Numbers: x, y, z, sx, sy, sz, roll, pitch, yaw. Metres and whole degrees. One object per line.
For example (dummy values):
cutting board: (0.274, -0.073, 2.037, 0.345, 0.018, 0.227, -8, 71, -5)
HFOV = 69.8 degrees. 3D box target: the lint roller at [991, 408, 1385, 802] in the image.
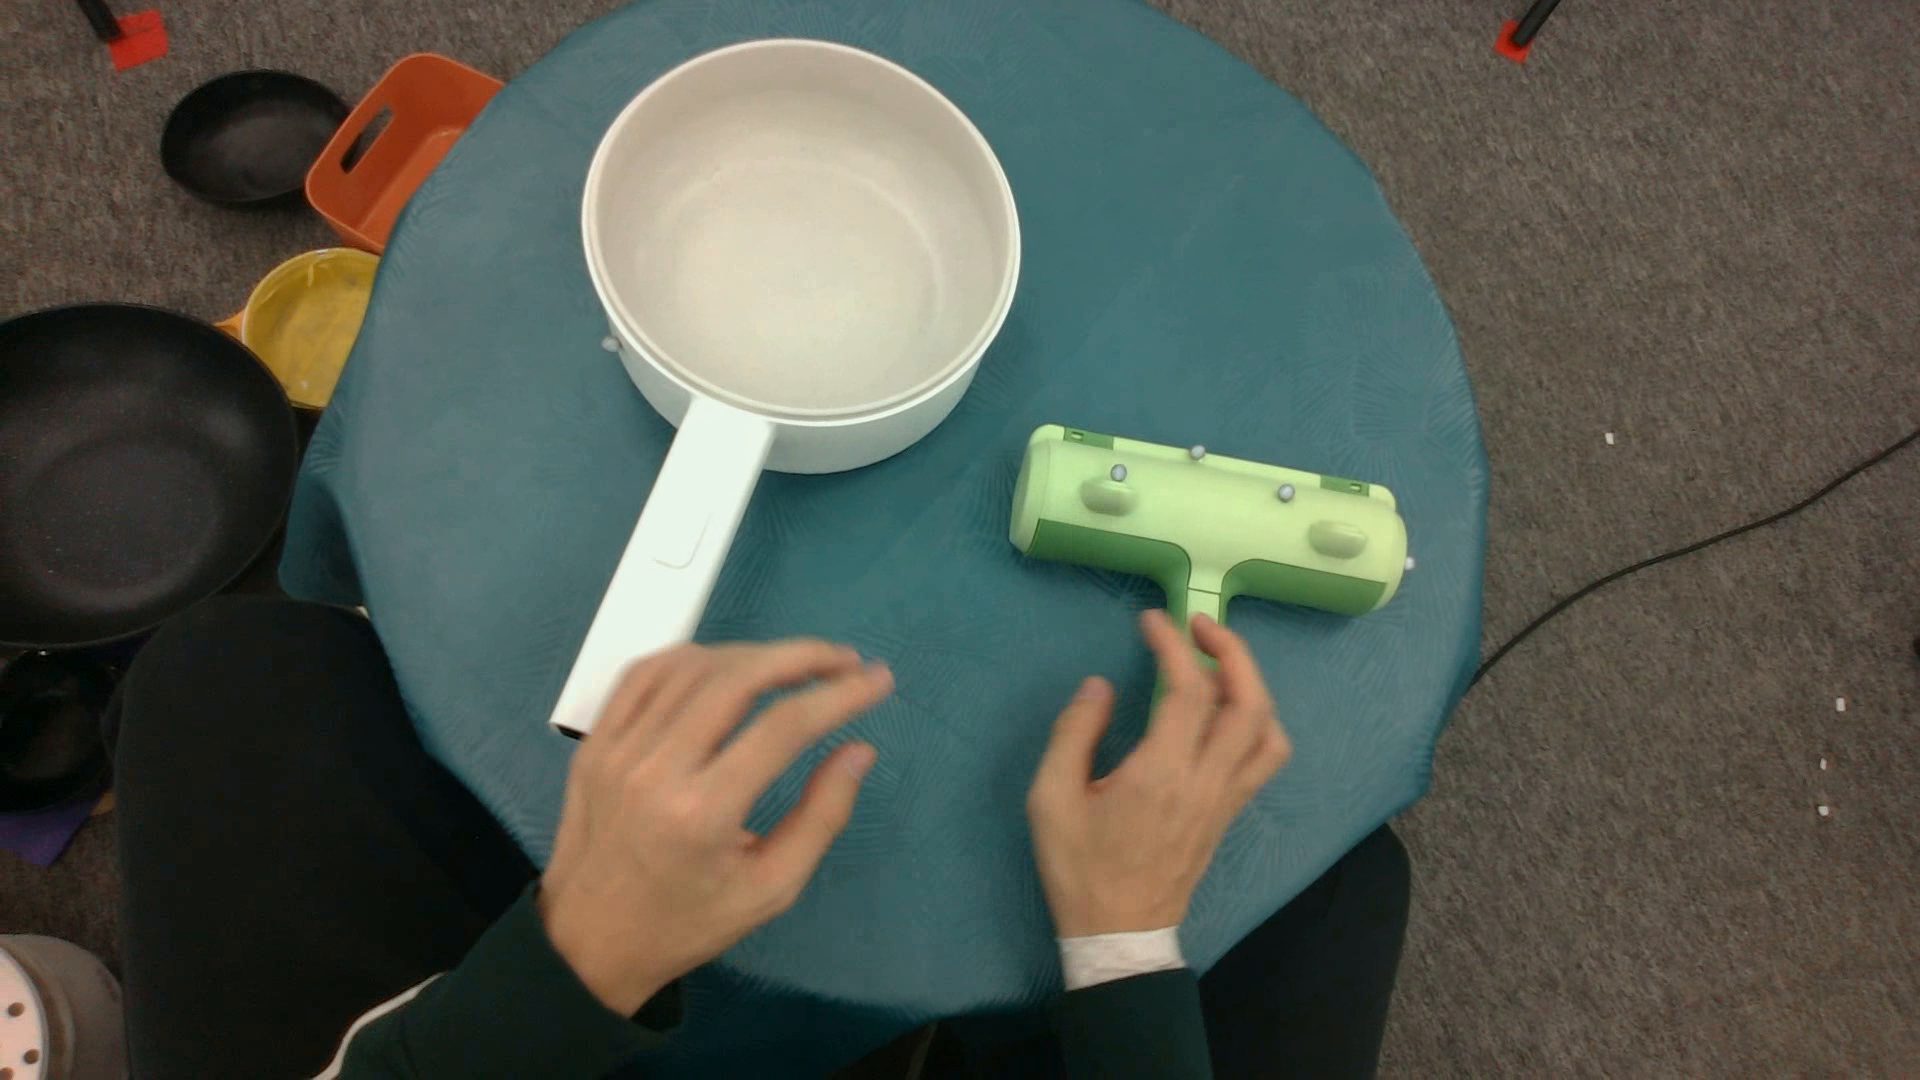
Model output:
lint roller: (0.112, 0.030, 0.671, 0.199, 0.082, 0.184, 9, 65, -7)

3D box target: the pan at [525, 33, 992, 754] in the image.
pan: (-0.113, -0.068, 0.655, 0.201, 0.102, 0.356, 19, 70, -5)
